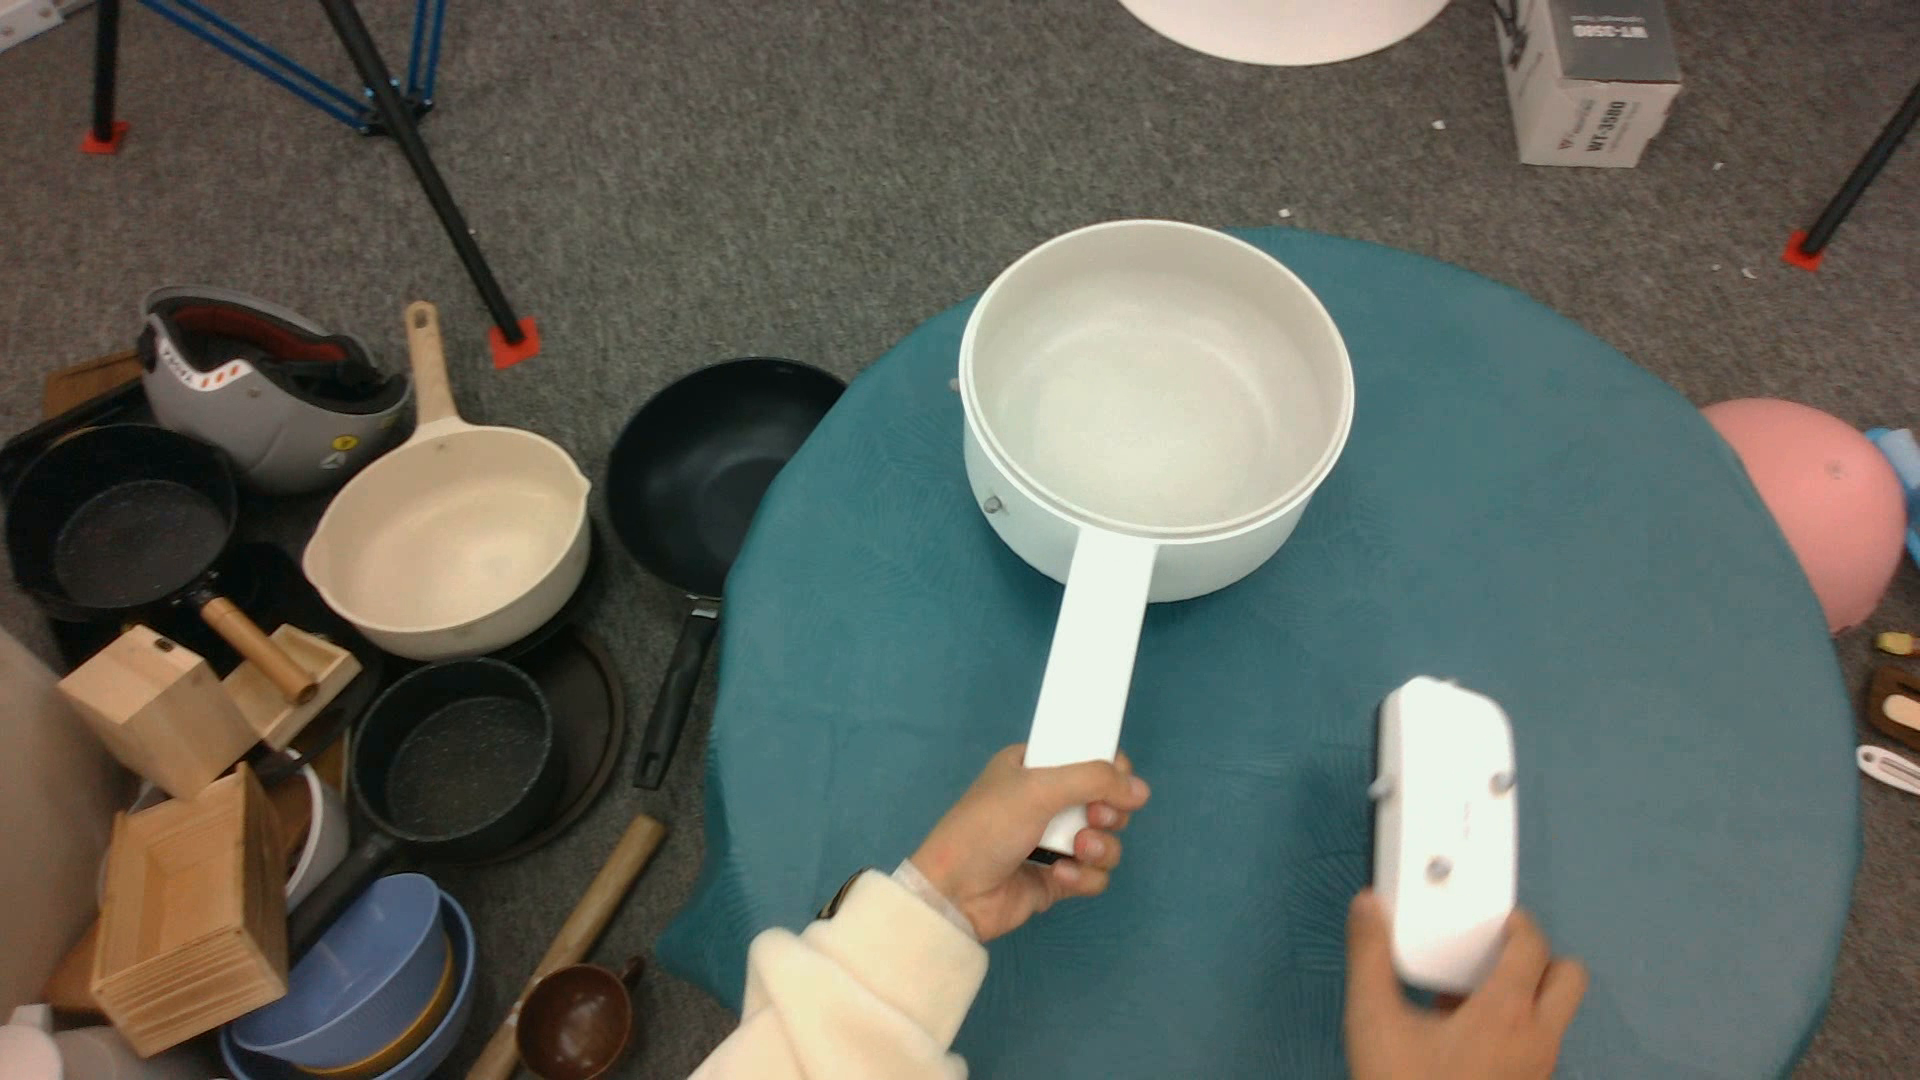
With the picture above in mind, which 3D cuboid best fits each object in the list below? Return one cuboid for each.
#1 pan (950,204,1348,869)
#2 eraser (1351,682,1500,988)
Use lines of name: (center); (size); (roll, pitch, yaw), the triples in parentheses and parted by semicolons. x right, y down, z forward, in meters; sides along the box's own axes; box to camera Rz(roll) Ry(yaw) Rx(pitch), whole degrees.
pan: (0.076, -0.003, 0.701); (0.201, 0.101, 0.356); (13, 65, 5)
eraser: (0.207, 0.131, 0.618); (0.063, 0.034, 0.132); (17, 63, -16)
